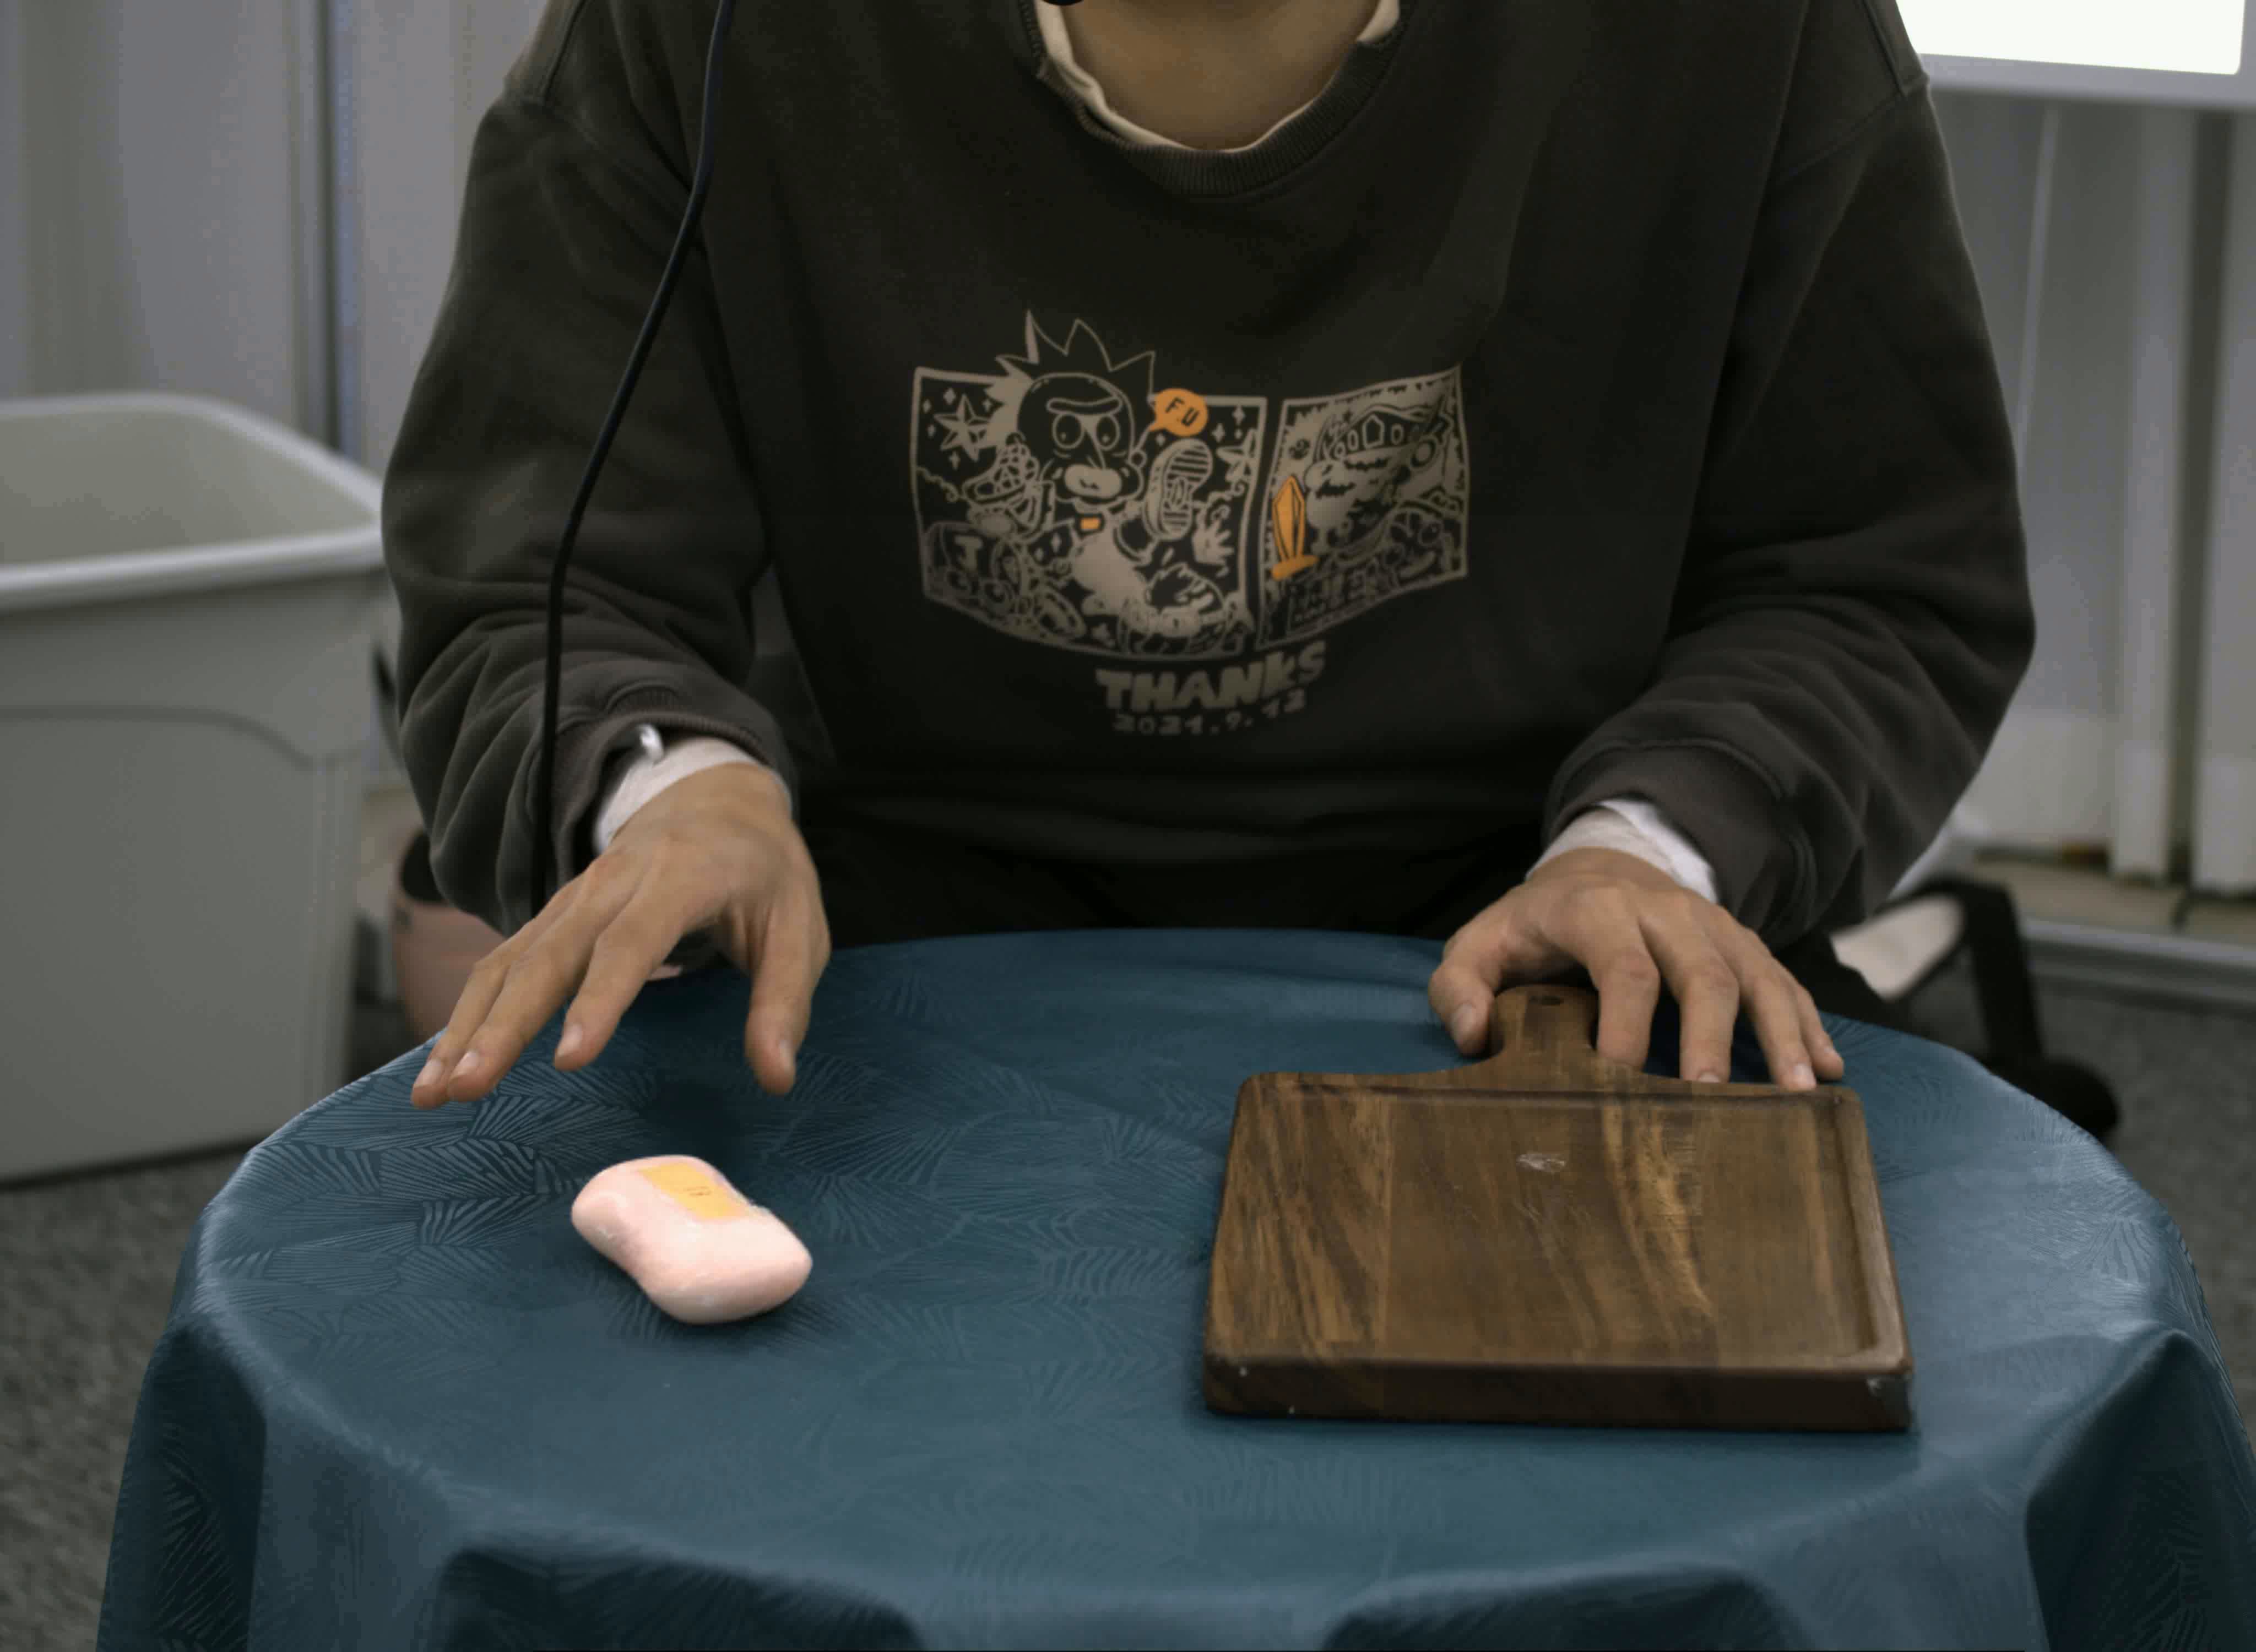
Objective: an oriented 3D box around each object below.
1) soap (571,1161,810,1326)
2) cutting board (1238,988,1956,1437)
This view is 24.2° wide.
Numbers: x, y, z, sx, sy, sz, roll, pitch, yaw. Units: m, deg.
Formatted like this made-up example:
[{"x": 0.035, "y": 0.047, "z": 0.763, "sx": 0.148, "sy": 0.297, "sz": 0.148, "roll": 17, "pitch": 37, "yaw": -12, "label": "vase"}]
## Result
[{"x": -0.129, "y": 0.122, "z": 1.541, "sx": 0.050, "sy": 0.030, "sz": 0.093, "roll": -6, "pitch": 15, "yaw": -24, "label": "soap"}, {"x": 0.140, "y": 0.110, "z": 1.605, "sx": 0.200, "sy": 0.023, "sz": 0.351, "roll": 2, "pitch": 15, "yaw": 4, "label": "cutting board"}]
